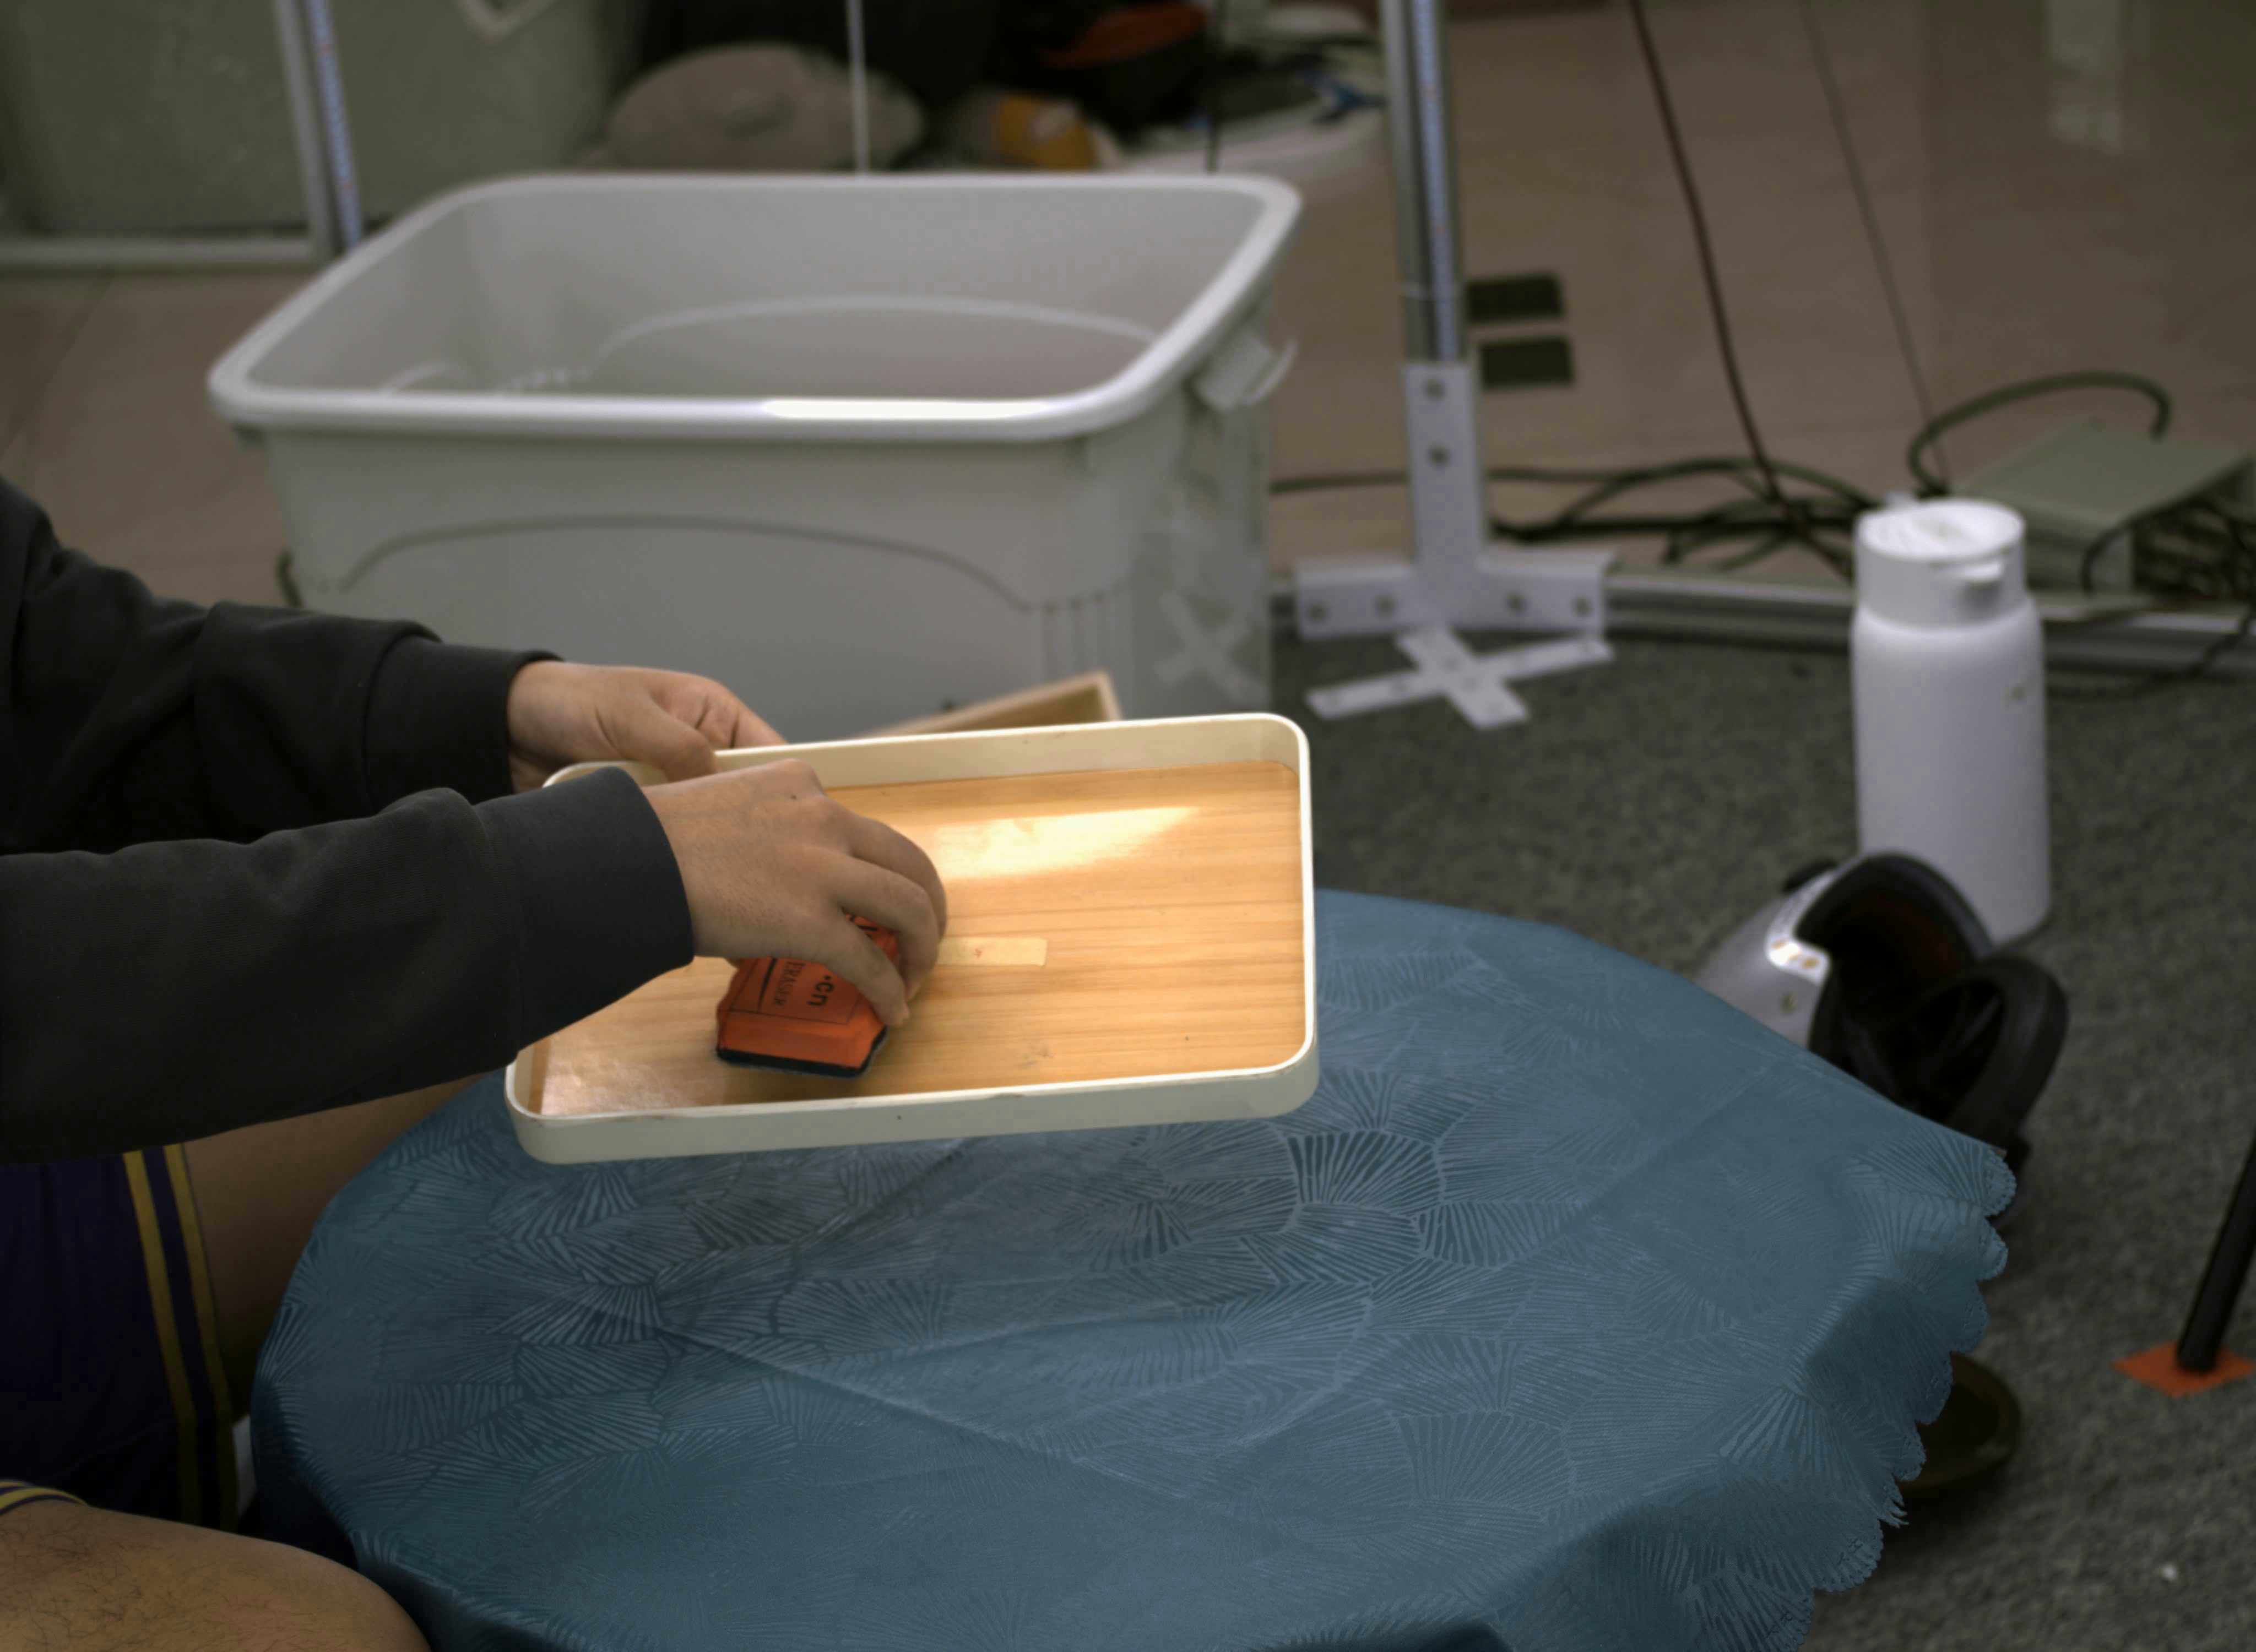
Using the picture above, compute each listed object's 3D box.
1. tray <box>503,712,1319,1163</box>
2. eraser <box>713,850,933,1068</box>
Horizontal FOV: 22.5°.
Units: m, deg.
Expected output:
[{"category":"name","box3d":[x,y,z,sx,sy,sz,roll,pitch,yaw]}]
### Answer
[{"category":"tray","box3d":[-0.079,0.040,2.123,0.300,0.028,0.188,-4,46,5]},{"category":"eraser","box3d":[-0.112,0.049,2.095,0.059,0.023,0.106,-2,35,19]}]
